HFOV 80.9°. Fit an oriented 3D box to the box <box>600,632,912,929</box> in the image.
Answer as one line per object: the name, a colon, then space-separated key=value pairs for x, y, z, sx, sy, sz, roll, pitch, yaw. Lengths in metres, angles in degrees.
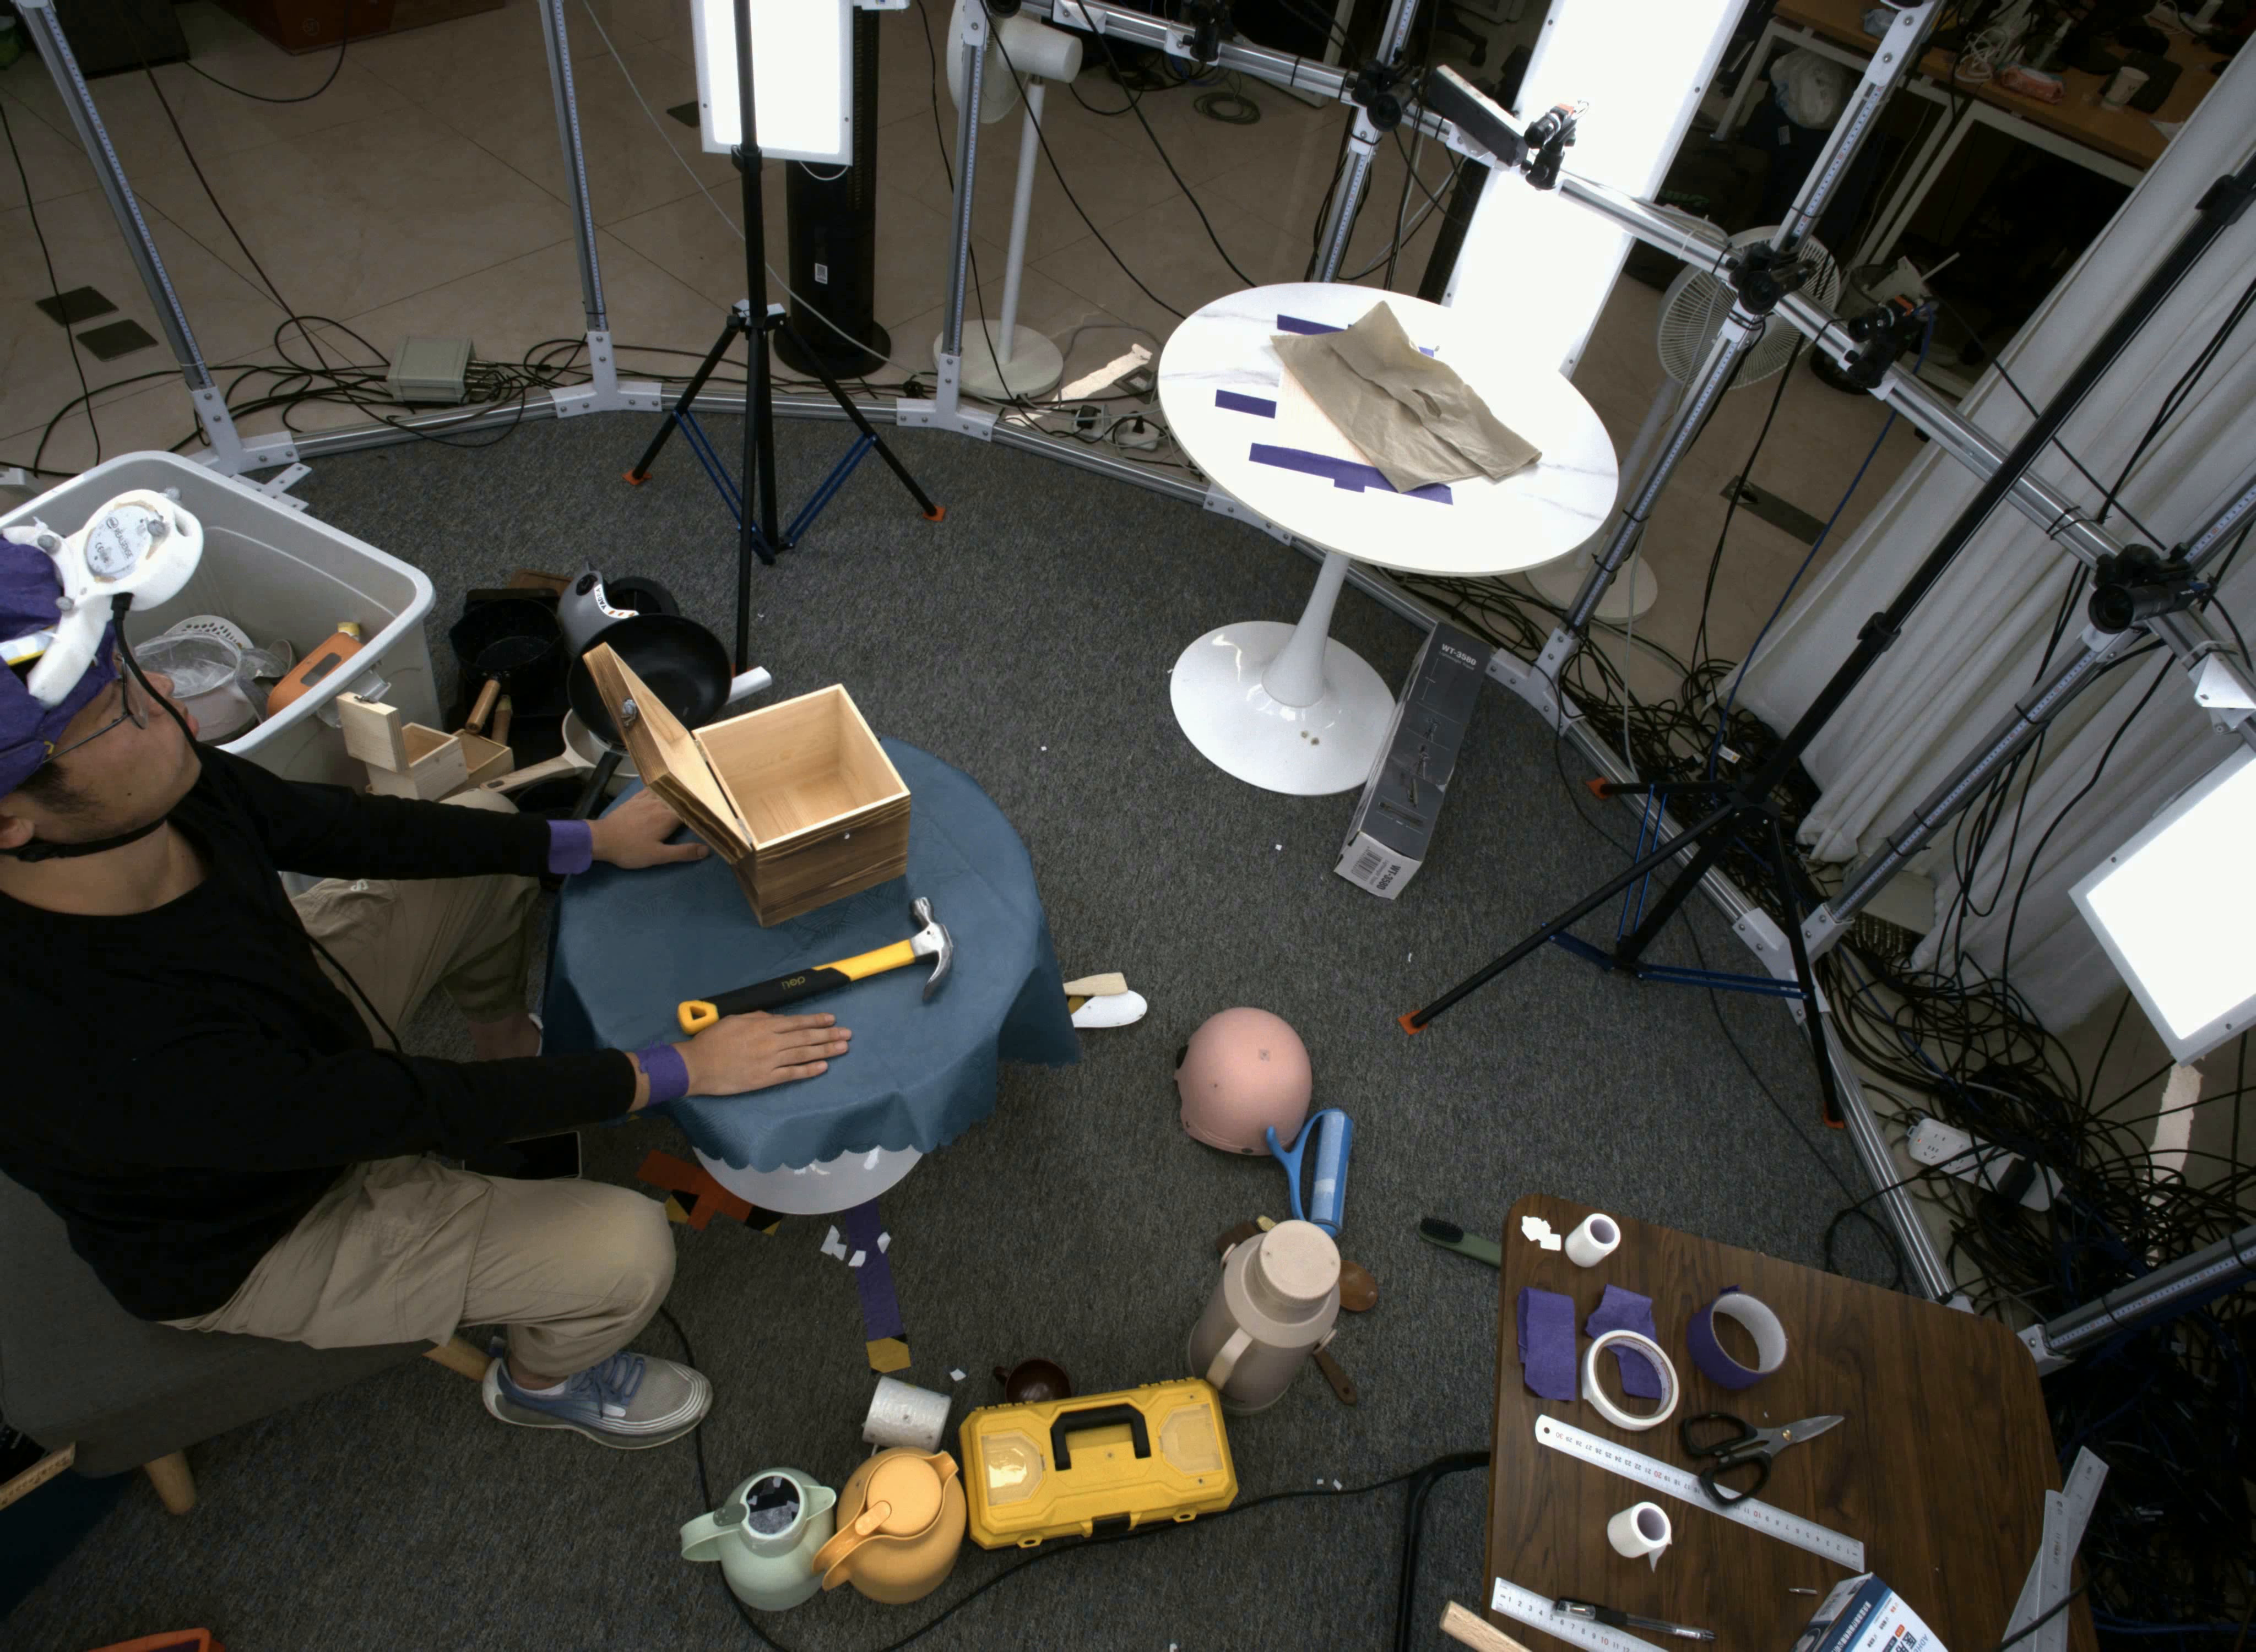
box: x=-0.439 y=-0.071 z=1.536 sx=0.323 sy=0.383 sz=0.203 roll=-23 pitch=61 yaw=-27

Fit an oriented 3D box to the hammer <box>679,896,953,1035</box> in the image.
hammer: x=-0.374 y=0.183 z=1.575 sx=0.340 sy=0.033 sz=0.128 roll=-15 pitch=59 yaw=-25
